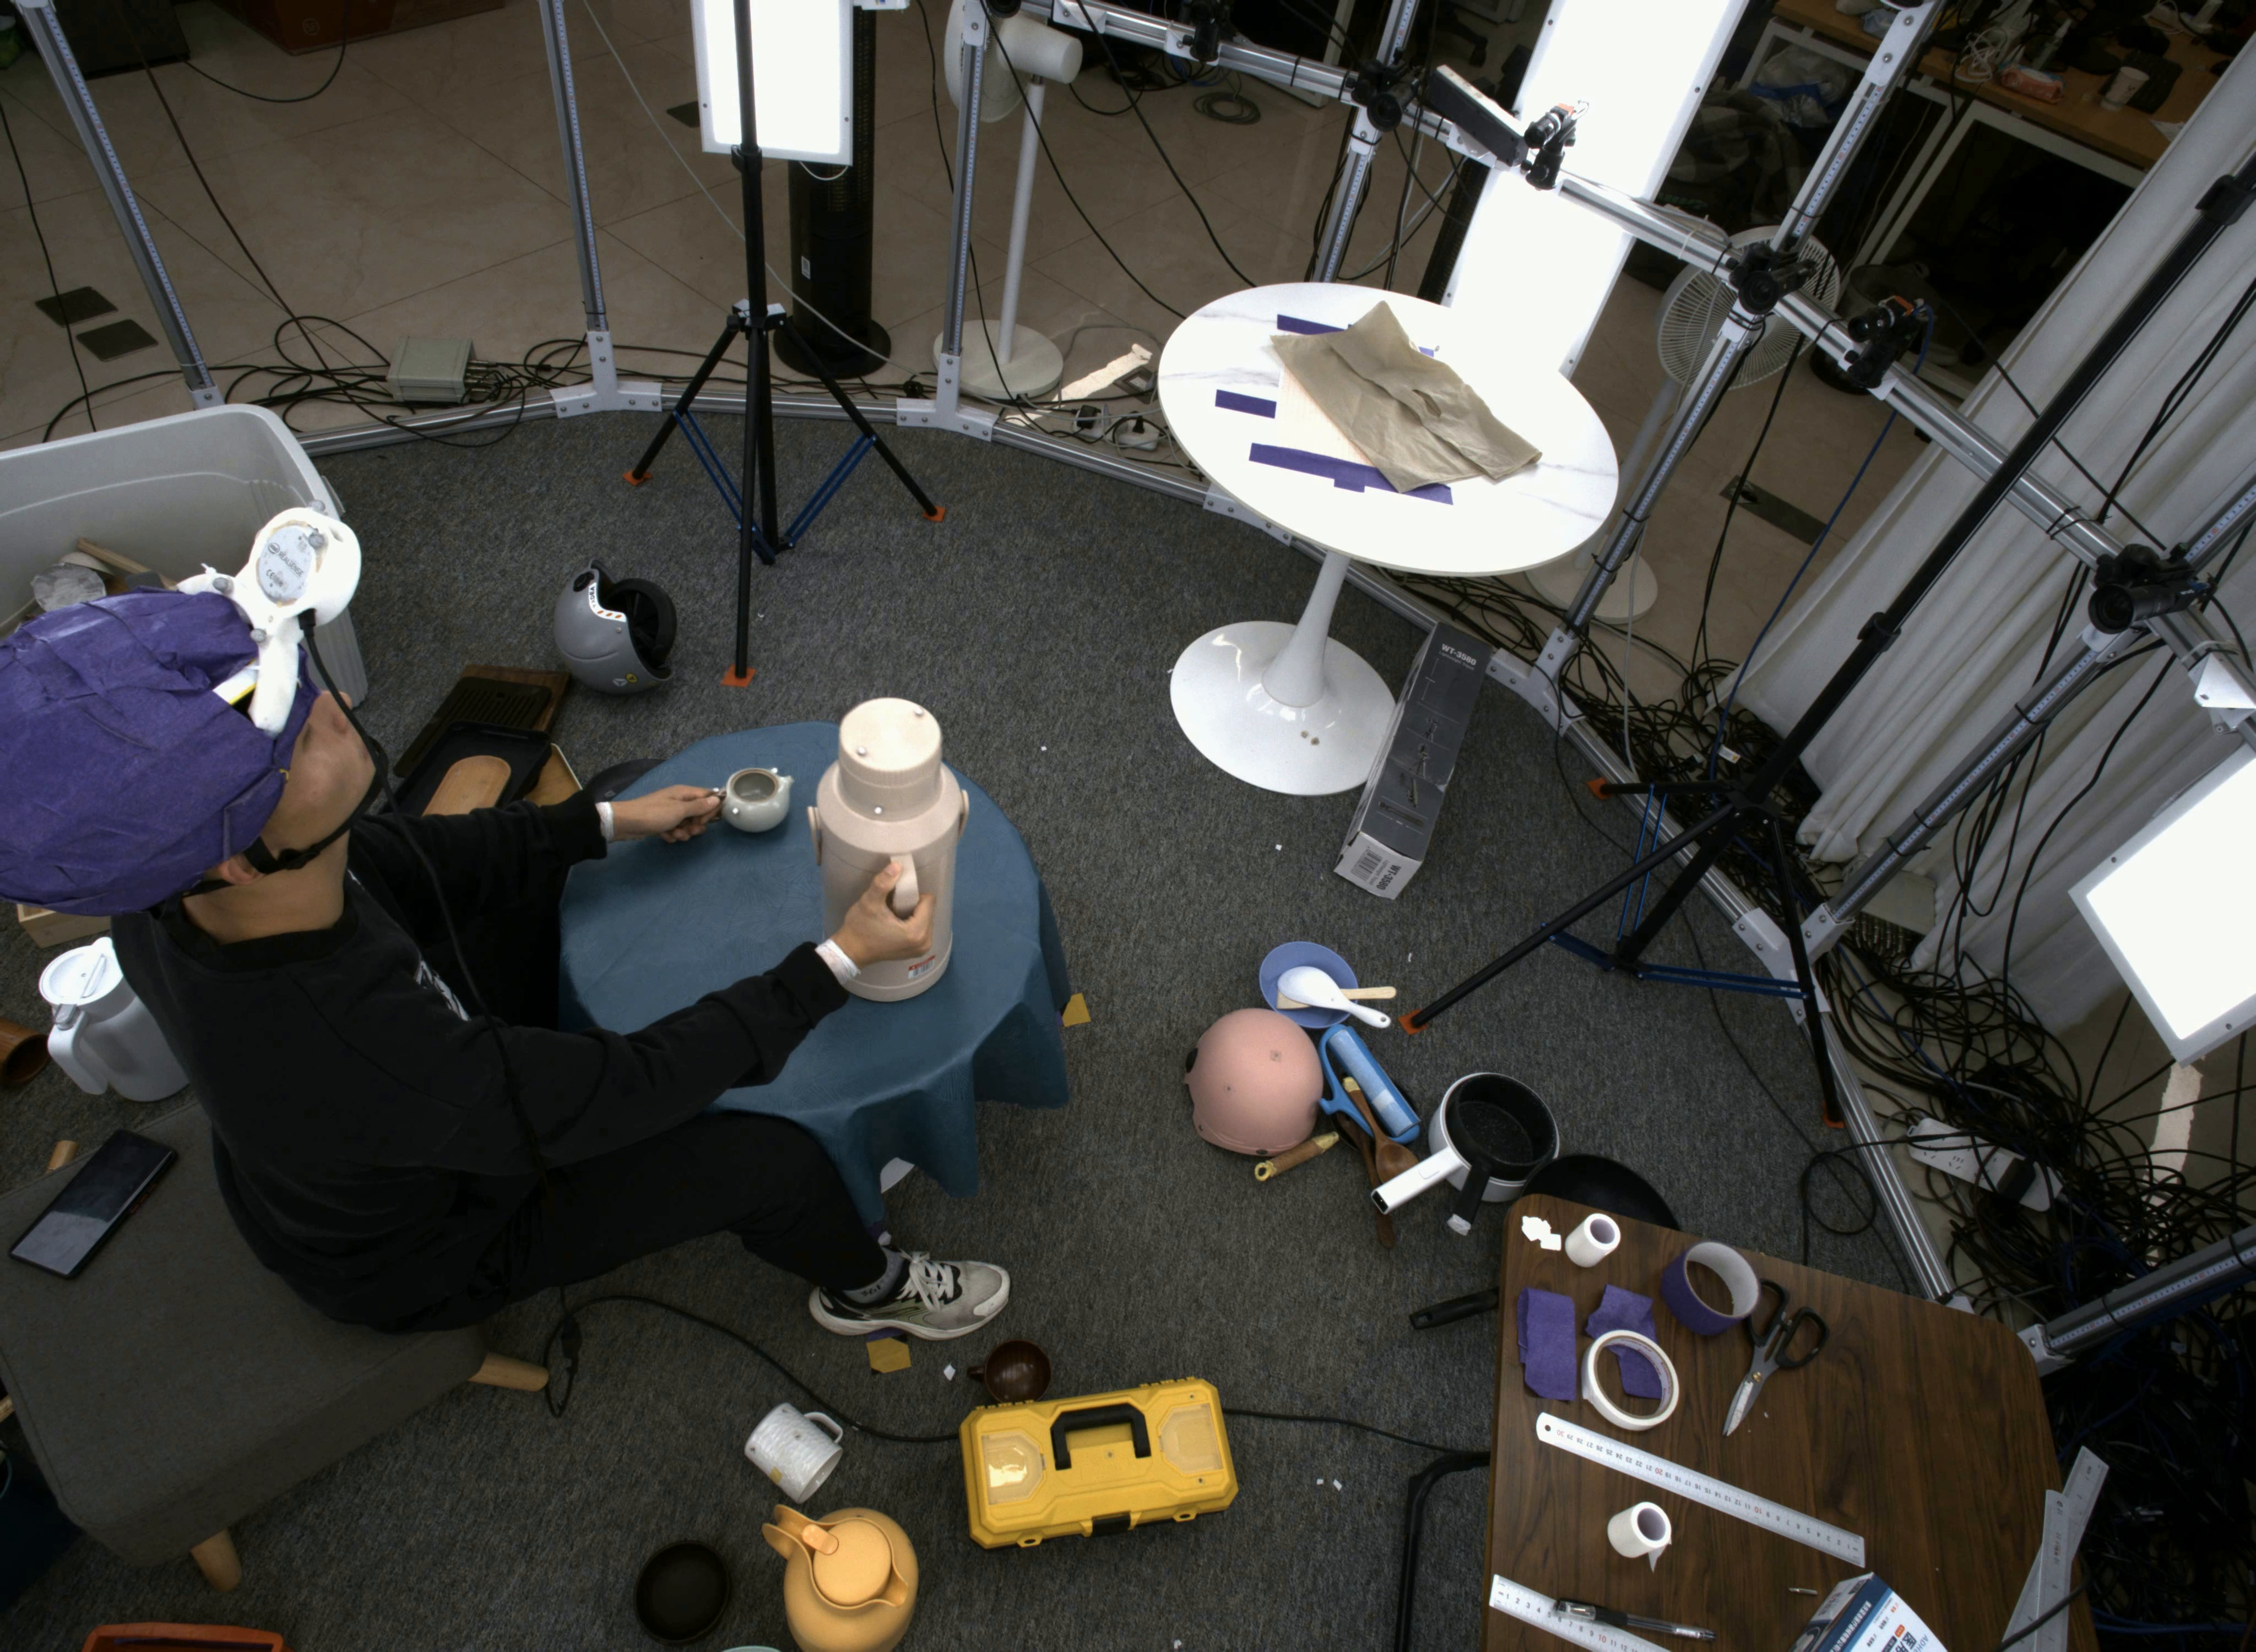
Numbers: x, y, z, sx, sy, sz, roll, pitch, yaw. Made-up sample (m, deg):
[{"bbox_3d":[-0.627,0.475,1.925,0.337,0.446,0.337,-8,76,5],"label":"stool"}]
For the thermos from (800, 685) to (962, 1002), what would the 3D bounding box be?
[{"bbox_3d":[-0.276,0.035,1.474,0.176,0.416,0.201,-9,52,-18],"label":"thermos"}]

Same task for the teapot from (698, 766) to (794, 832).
[{"bbox_3d":[-0.497,-0.034,1.685,0.129,0.061,0.089,-16,57,-29],"label":"teapot"}]
